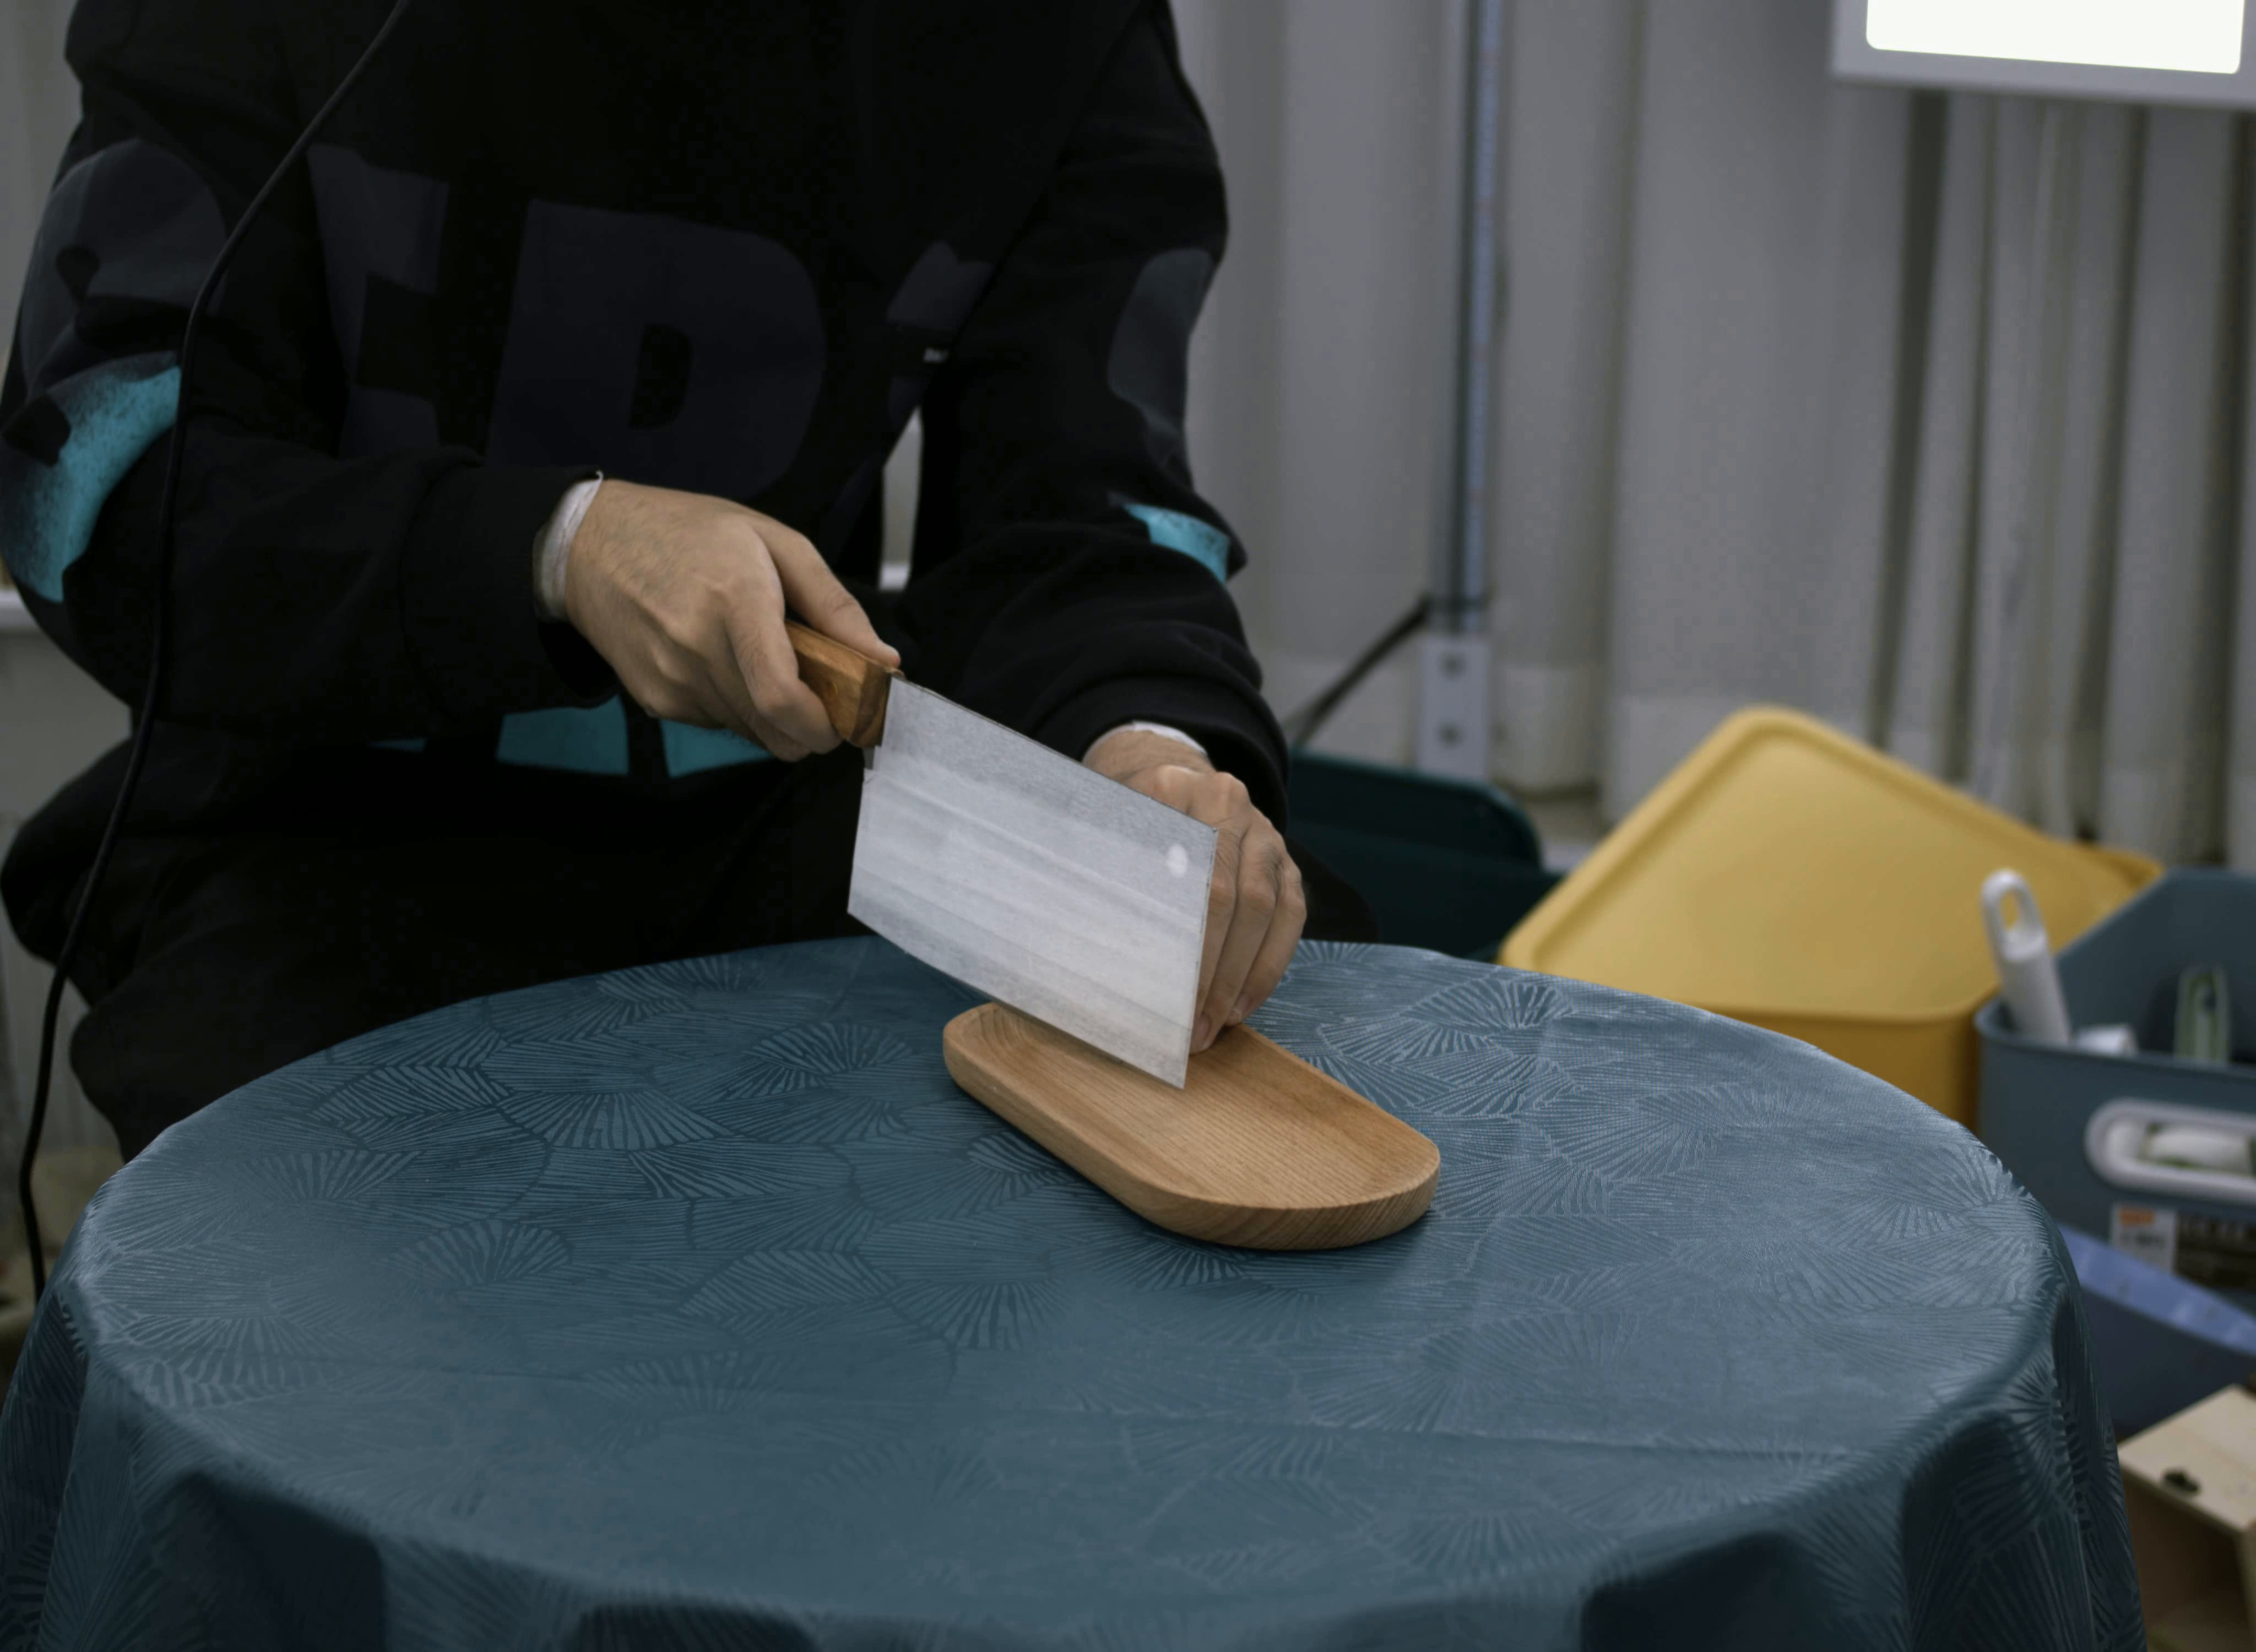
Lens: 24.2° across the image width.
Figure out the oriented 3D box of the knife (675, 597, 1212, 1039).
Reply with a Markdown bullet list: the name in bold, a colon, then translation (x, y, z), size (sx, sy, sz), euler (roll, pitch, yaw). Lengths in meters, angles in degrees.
- **knife**: translation (-0.067, -0.003, 1.776), size (0.021, 0.093, 0.301), euler (-7, 21, -38)

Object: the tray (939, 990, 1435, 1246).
- **tray**: translation (0.016, 0.090, 1.671), size (0.102, 0.020, 0.228), euler (-5, 15, -25)
